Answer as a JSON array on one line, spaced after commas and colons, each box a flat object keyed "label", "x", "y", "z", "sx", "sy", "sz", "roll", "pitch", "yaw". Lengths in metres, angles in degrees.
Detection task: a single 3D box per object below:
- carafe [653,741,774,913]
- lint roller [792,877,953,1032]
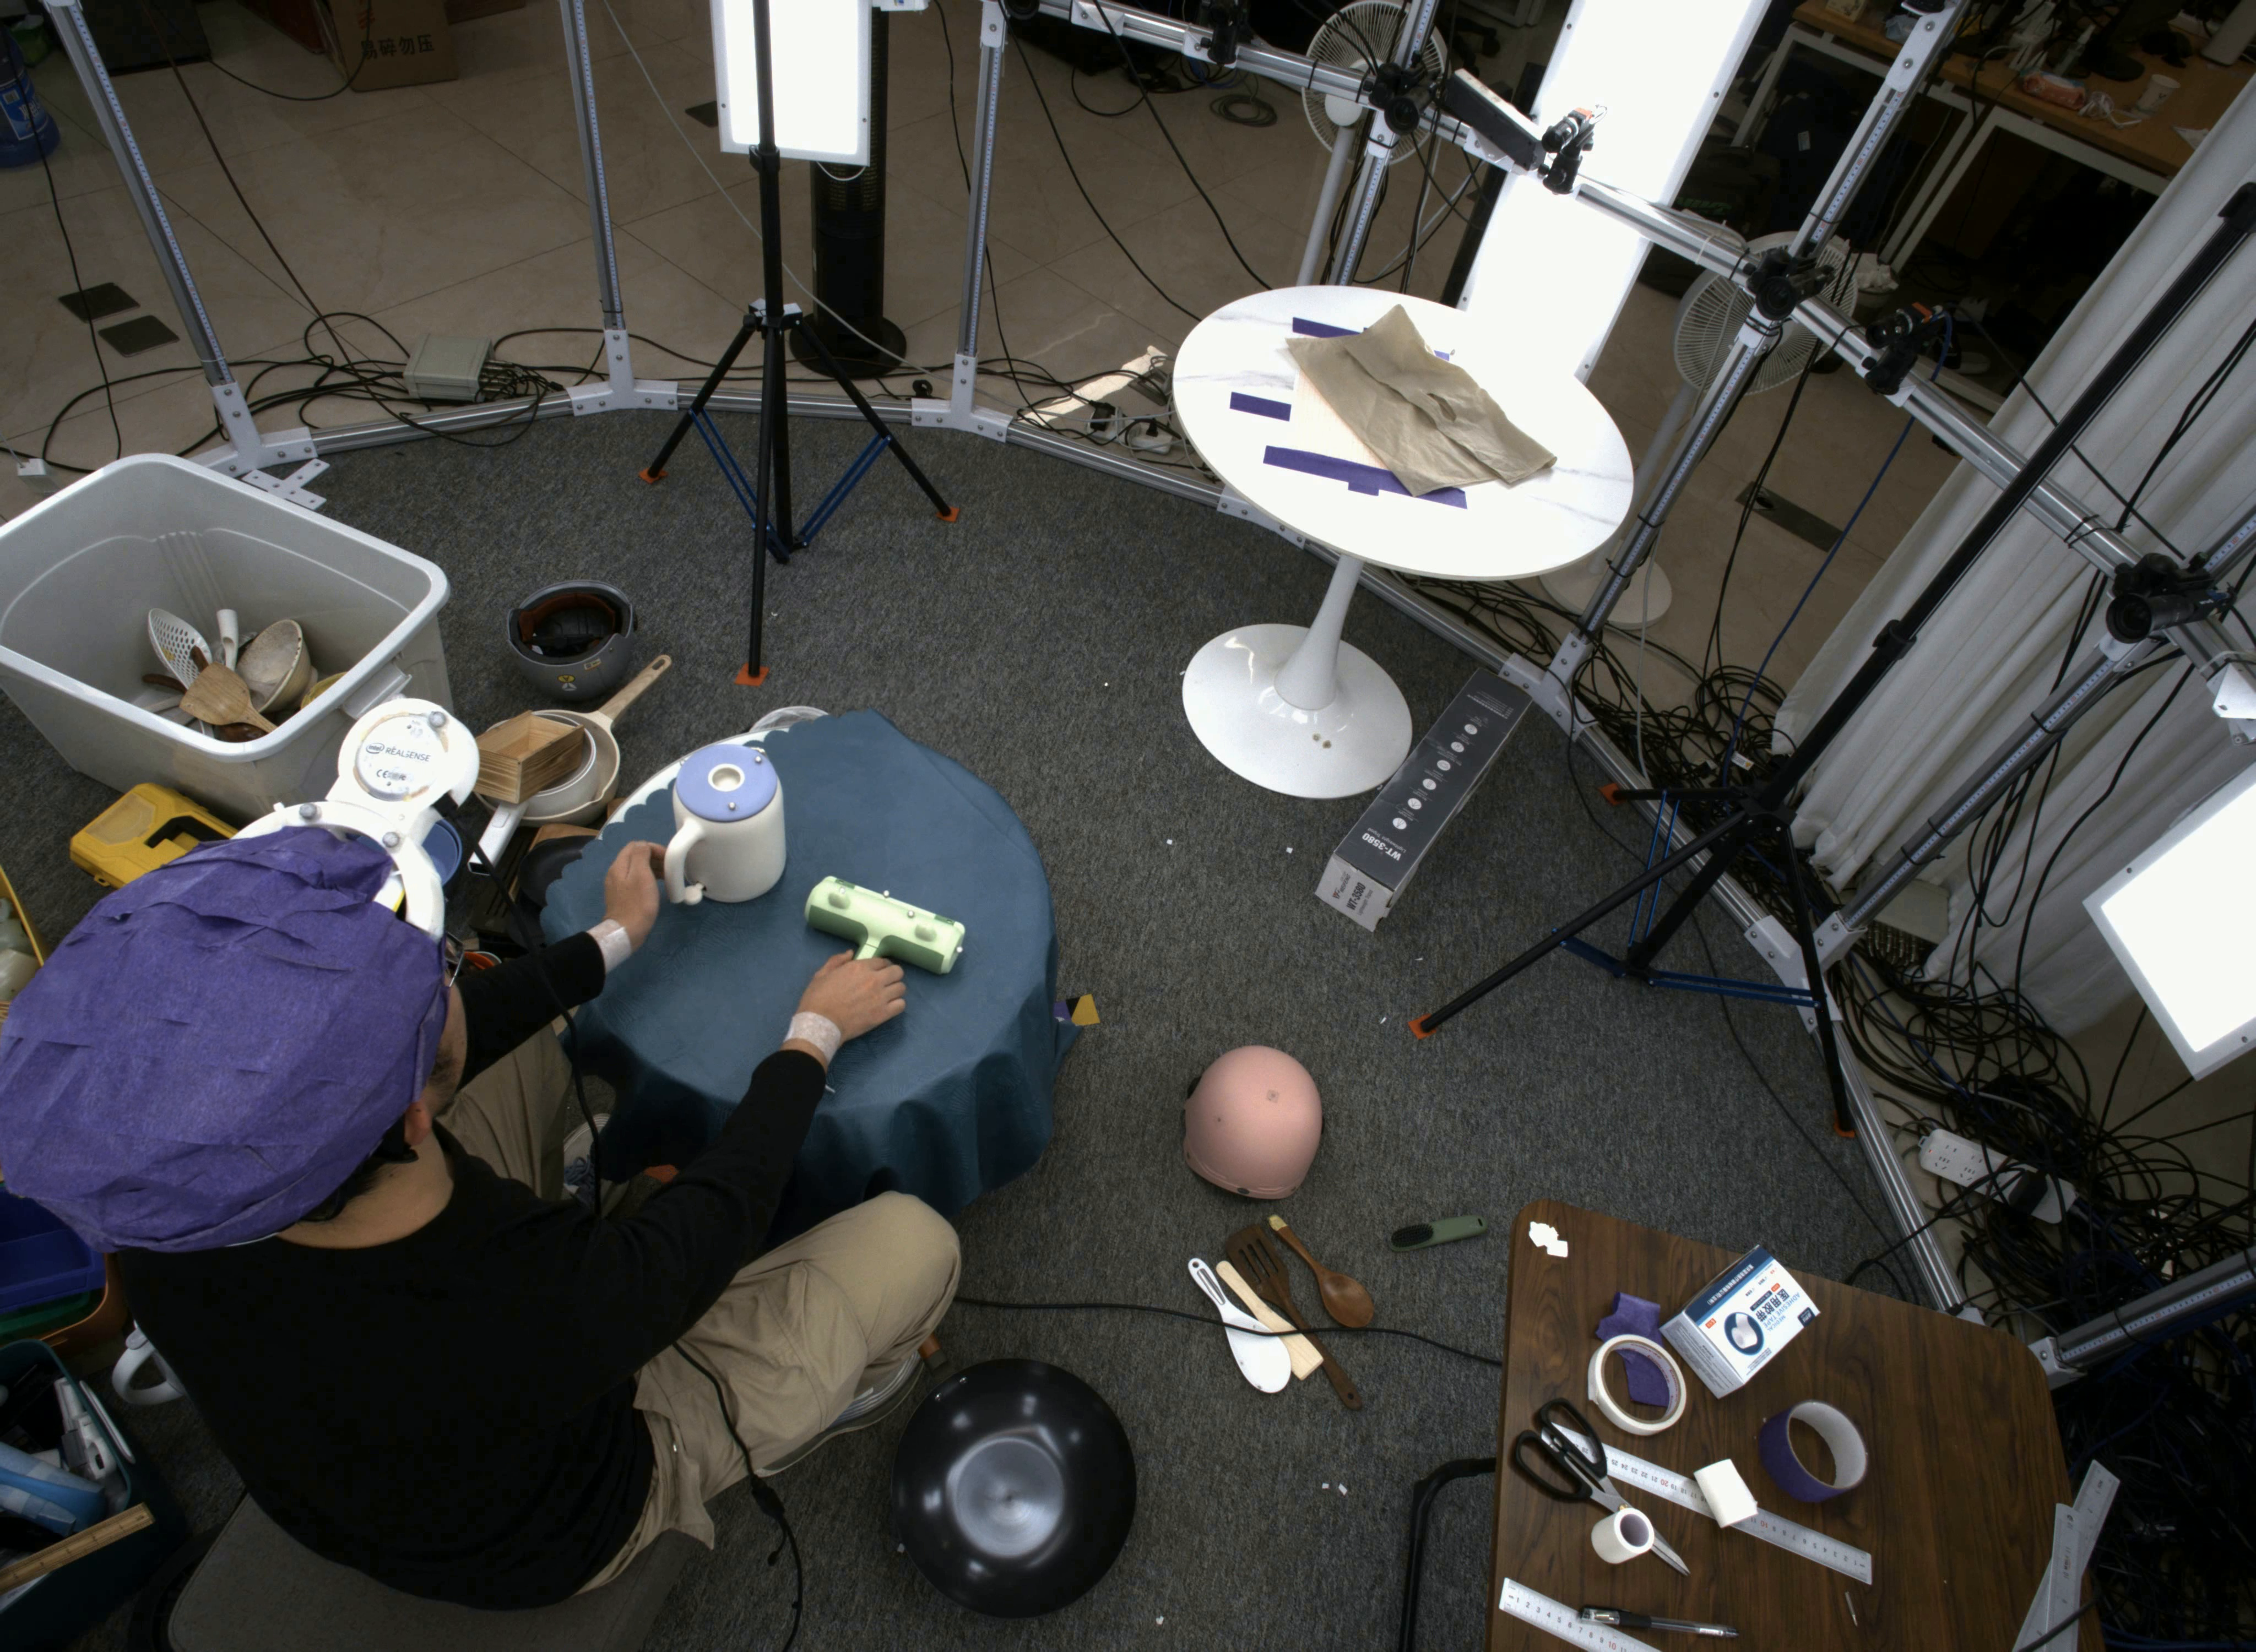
[{"label": "carafe", "x": -0.517, "y": 0.014, "z": 1.573, "sx": 0.130, "sy": 0.186, "sz": 0.190, "roll": 24, "pitch": 53, "yaw": 8}, {"label": "lint roller", "x": -0.333, "y": 0.156, "z": 1.576, "sx": 0.196, "sy": 0.084, "sz": 0.181, "roll": 19, "pitch": 49, "yaw": 2}]
